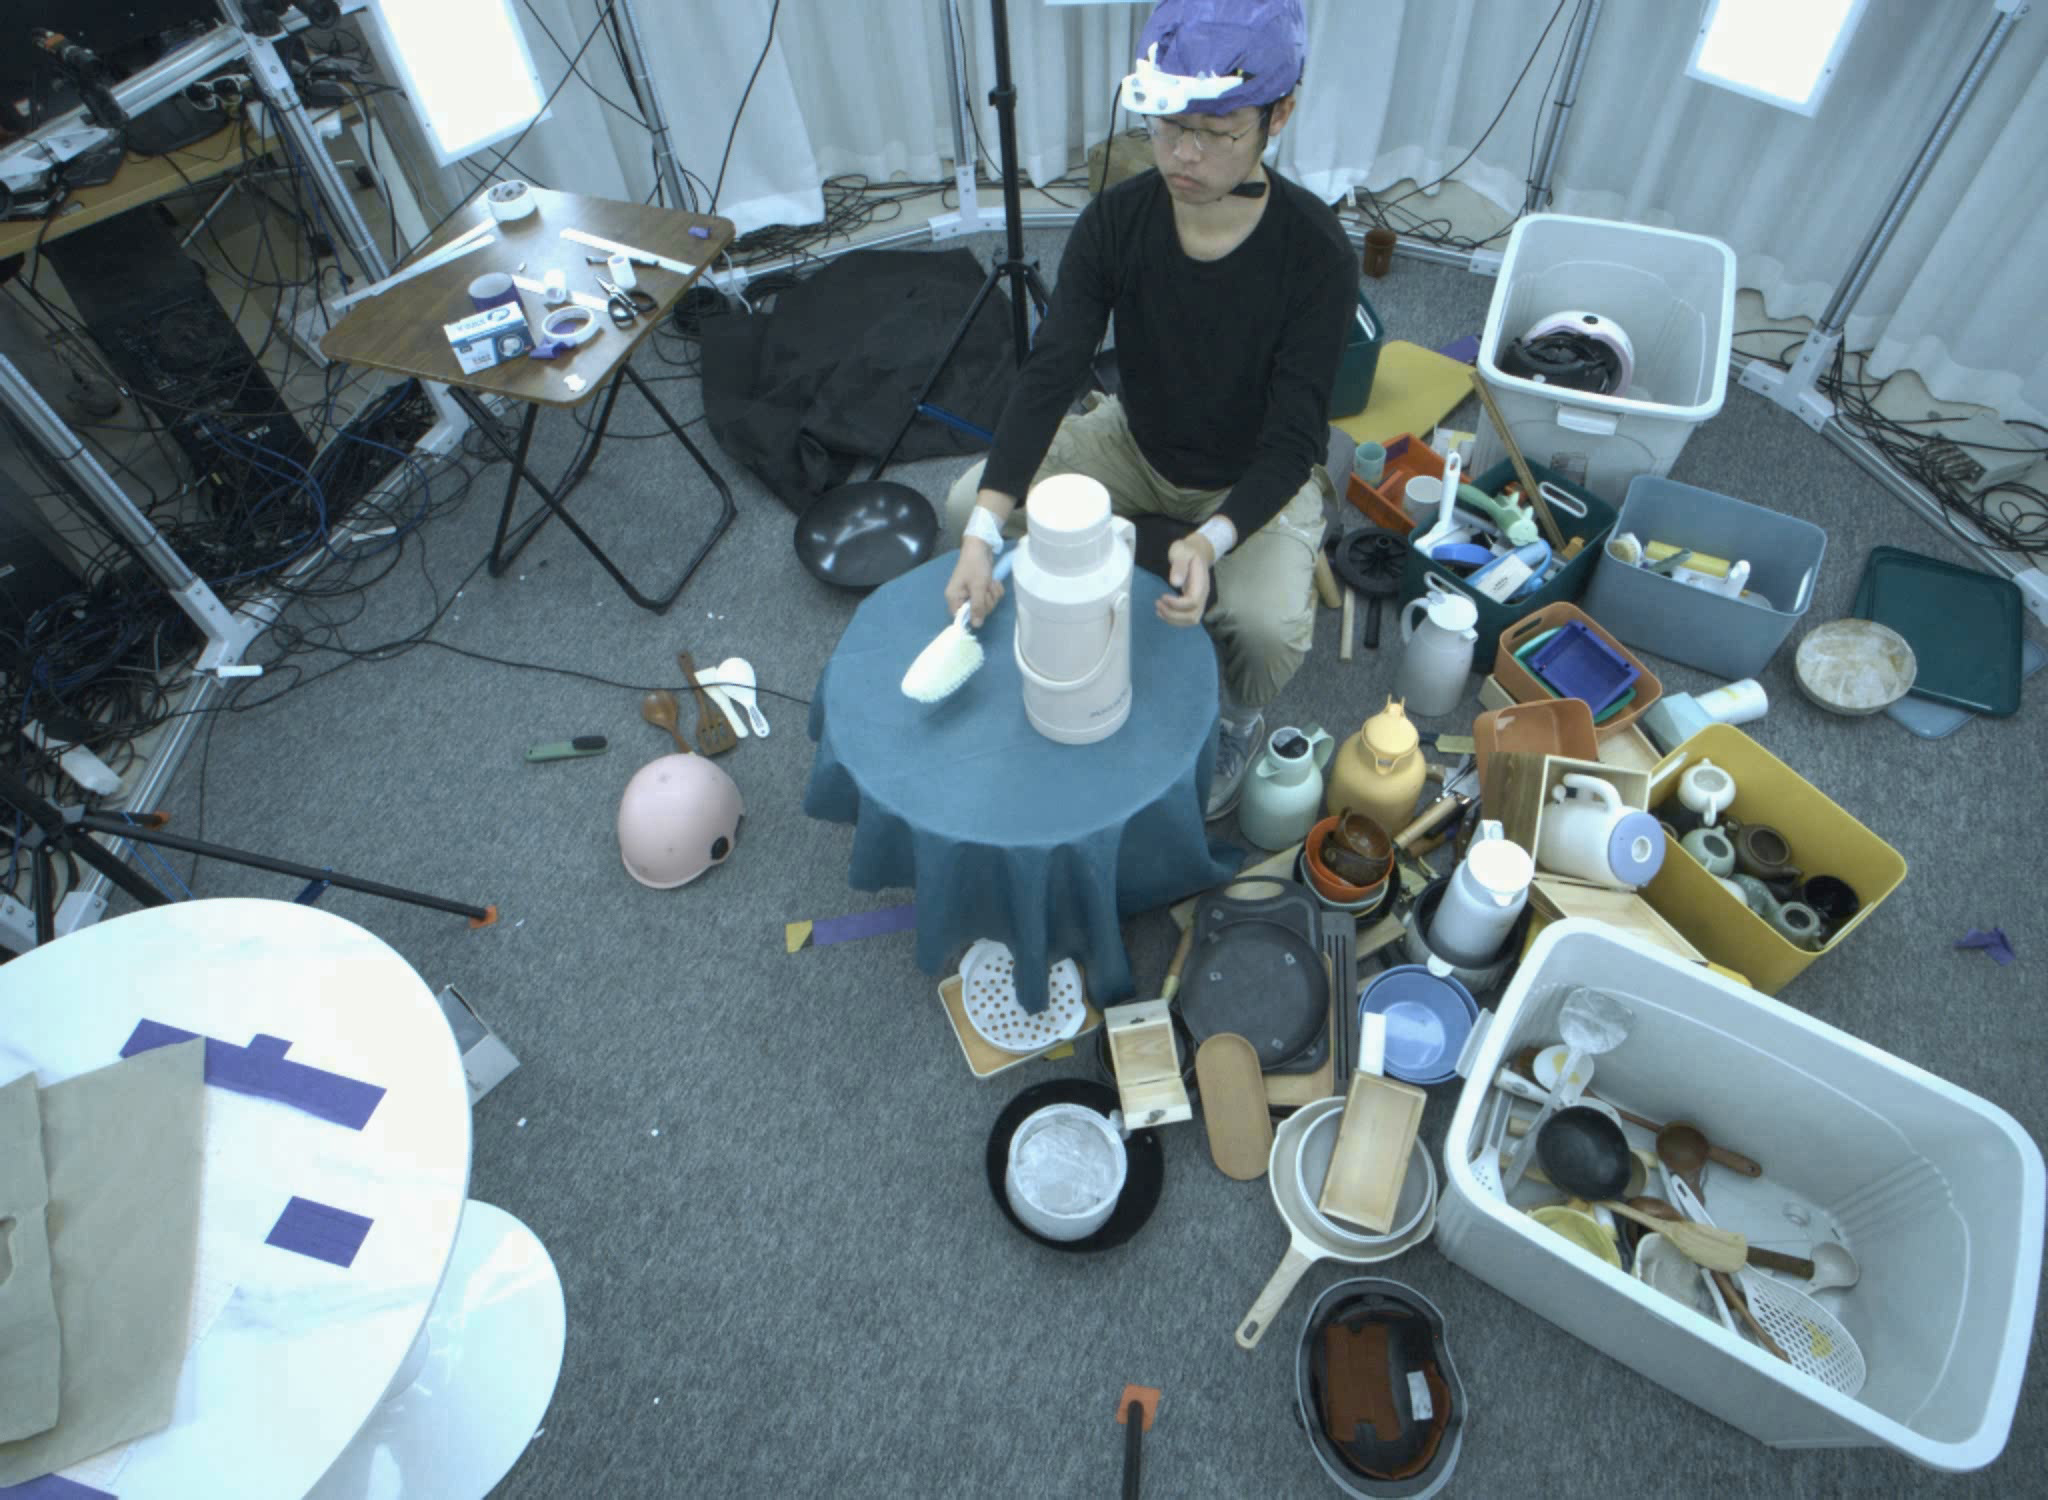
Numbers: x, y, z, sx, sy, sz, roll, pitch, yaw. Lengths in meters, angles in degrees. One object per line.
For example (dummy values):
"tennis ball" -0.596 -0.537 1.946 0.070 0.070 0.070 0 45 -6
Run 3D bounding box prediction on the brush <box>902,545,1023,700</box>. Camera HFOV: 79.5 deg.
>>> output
"brush" -0.070 -0.199 1.842 0.084 0.083 0.326 32 63 7

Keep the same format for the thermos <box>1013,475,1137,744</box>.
"thermos" 0.080 -0.195 1.678 0.172 0.411 0.208 33 63 26
